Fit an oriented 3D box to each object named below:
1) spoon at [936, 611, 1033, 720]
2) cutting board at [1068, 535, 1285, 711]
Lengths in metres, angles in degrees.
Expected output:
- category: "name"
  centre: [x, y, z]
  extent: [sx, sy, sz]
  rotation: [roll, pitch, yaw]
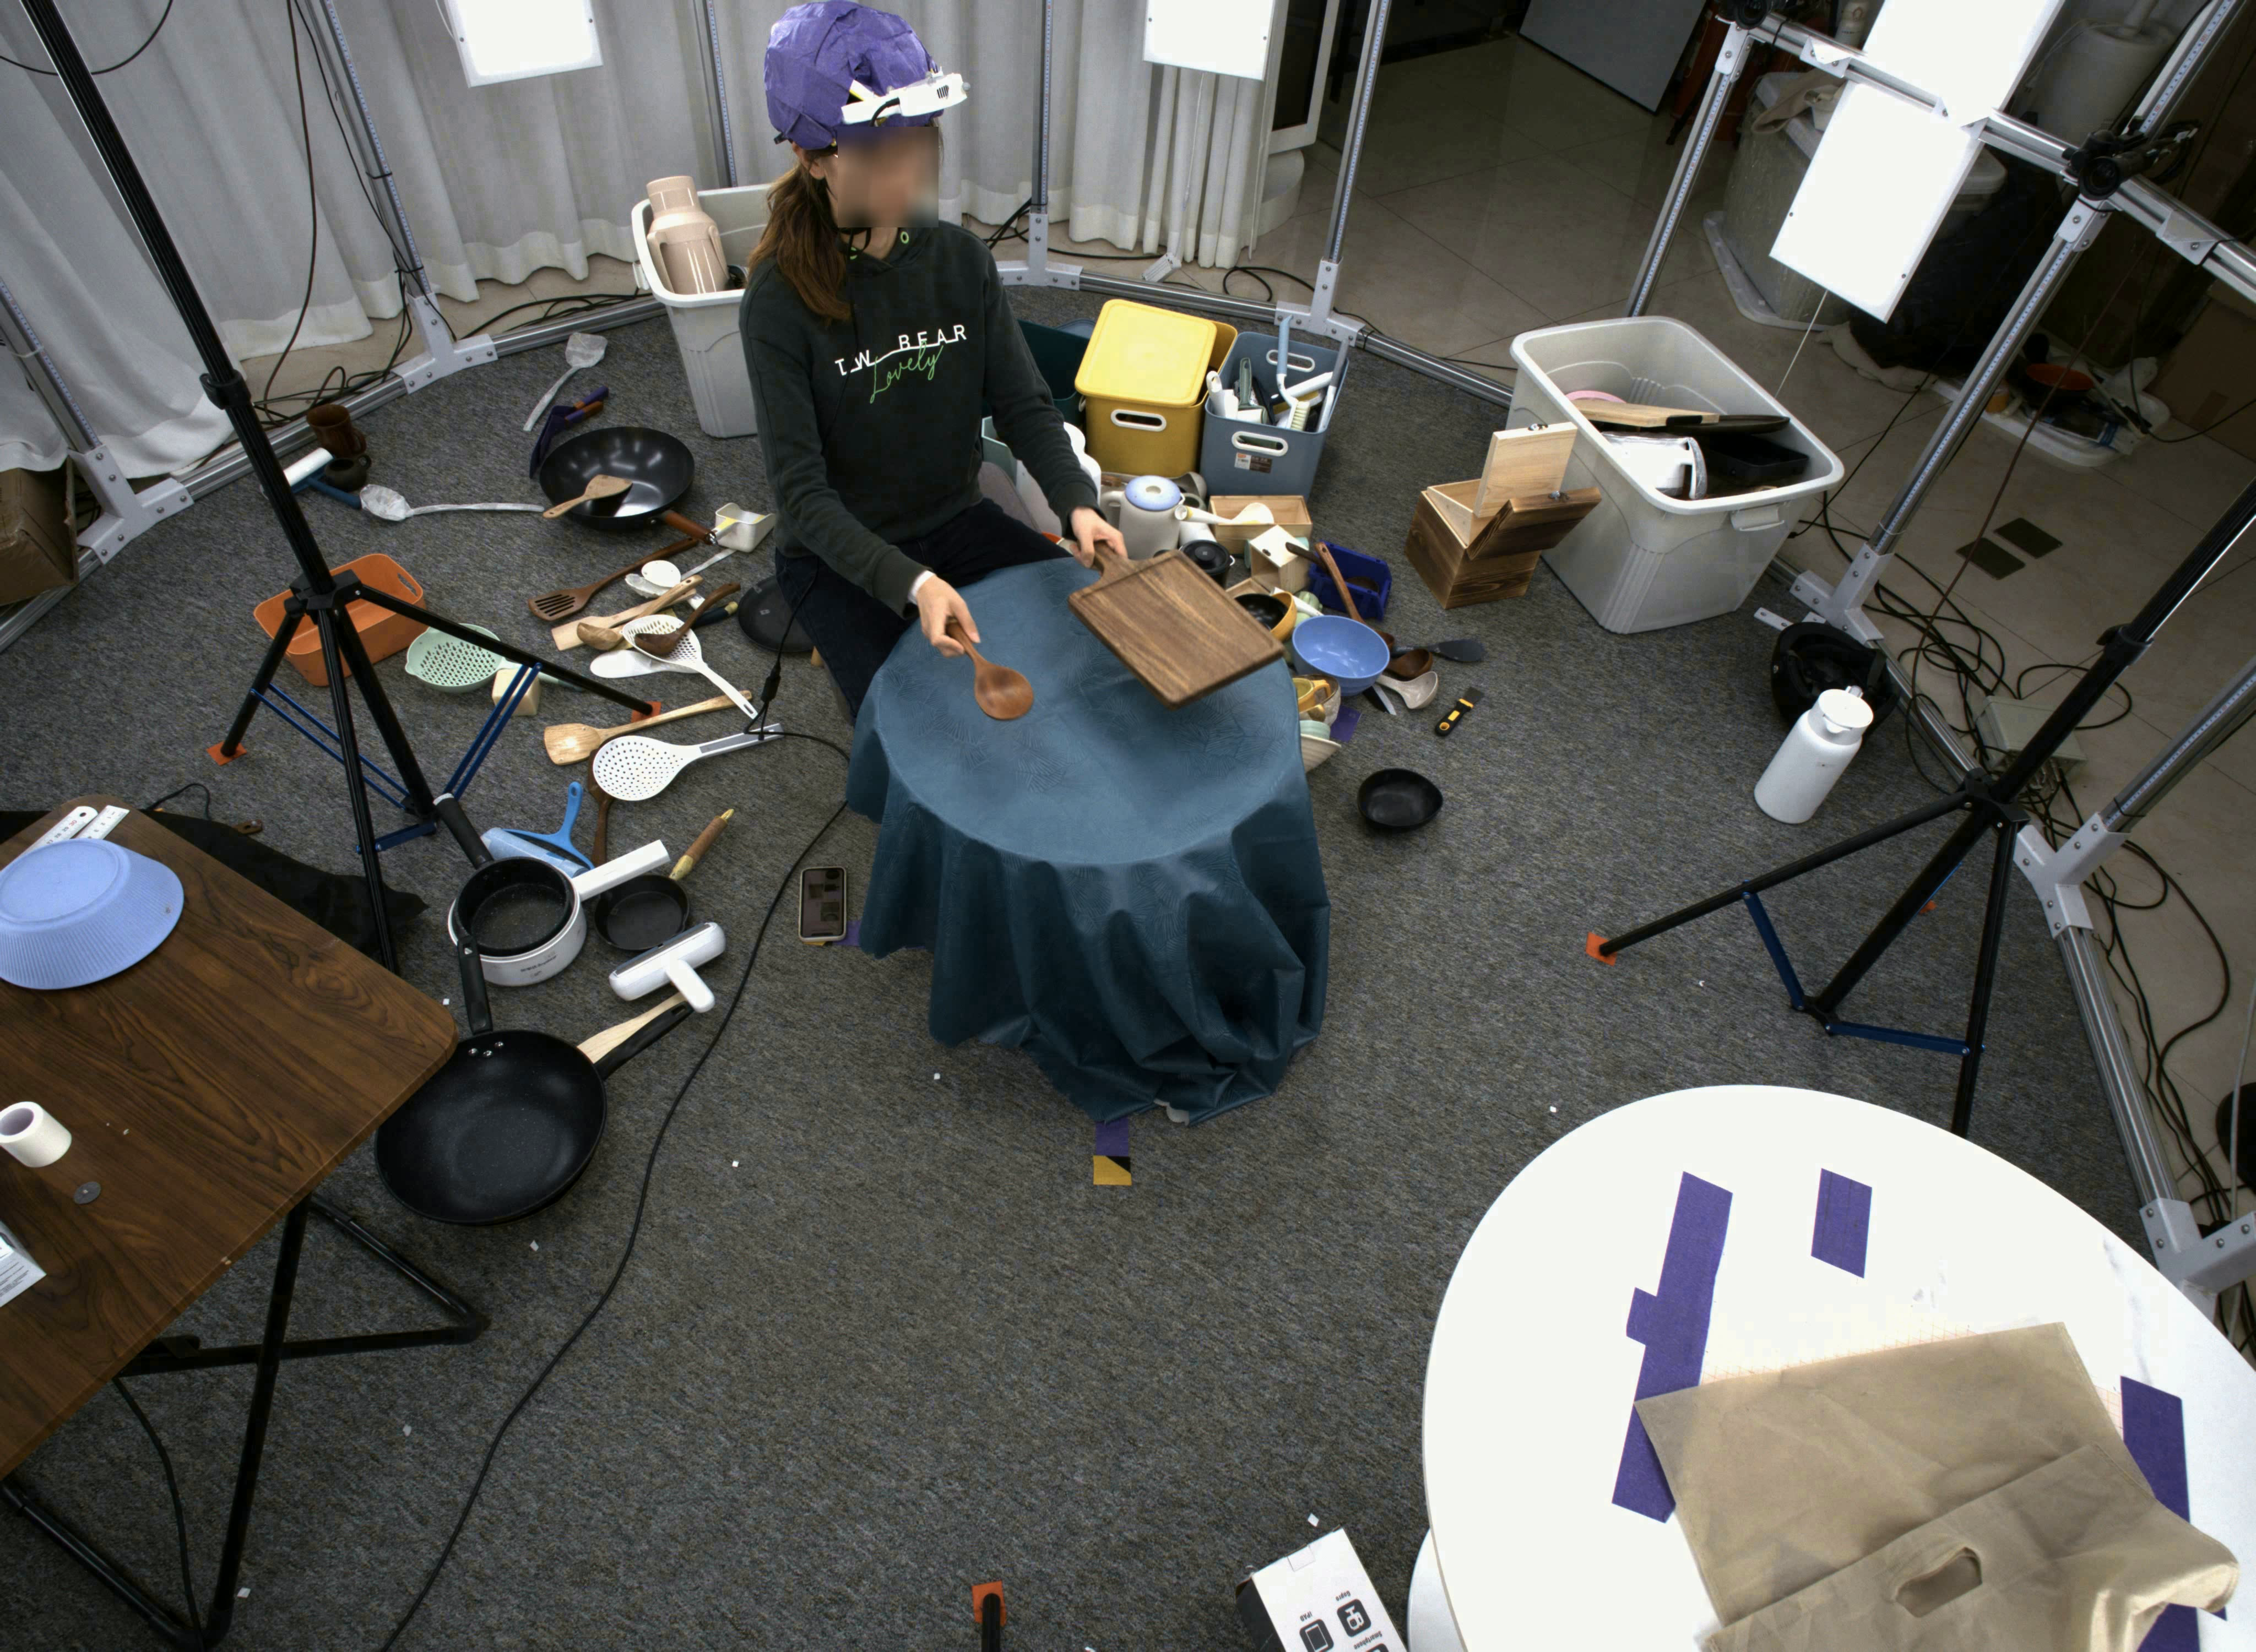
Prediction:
- category: "spoon"
  centre: [-0.198, -0.218, 1.724]
  extent: [0.076, 0.017, 0.220]
  rotation: [-31, 60, -11]
- category: "cutting board"
  centre: [0.037, -0.309, 1.811]
  extent: [0.202, 0.022, 0.359]
  rotation: [-28, 55, -22]
